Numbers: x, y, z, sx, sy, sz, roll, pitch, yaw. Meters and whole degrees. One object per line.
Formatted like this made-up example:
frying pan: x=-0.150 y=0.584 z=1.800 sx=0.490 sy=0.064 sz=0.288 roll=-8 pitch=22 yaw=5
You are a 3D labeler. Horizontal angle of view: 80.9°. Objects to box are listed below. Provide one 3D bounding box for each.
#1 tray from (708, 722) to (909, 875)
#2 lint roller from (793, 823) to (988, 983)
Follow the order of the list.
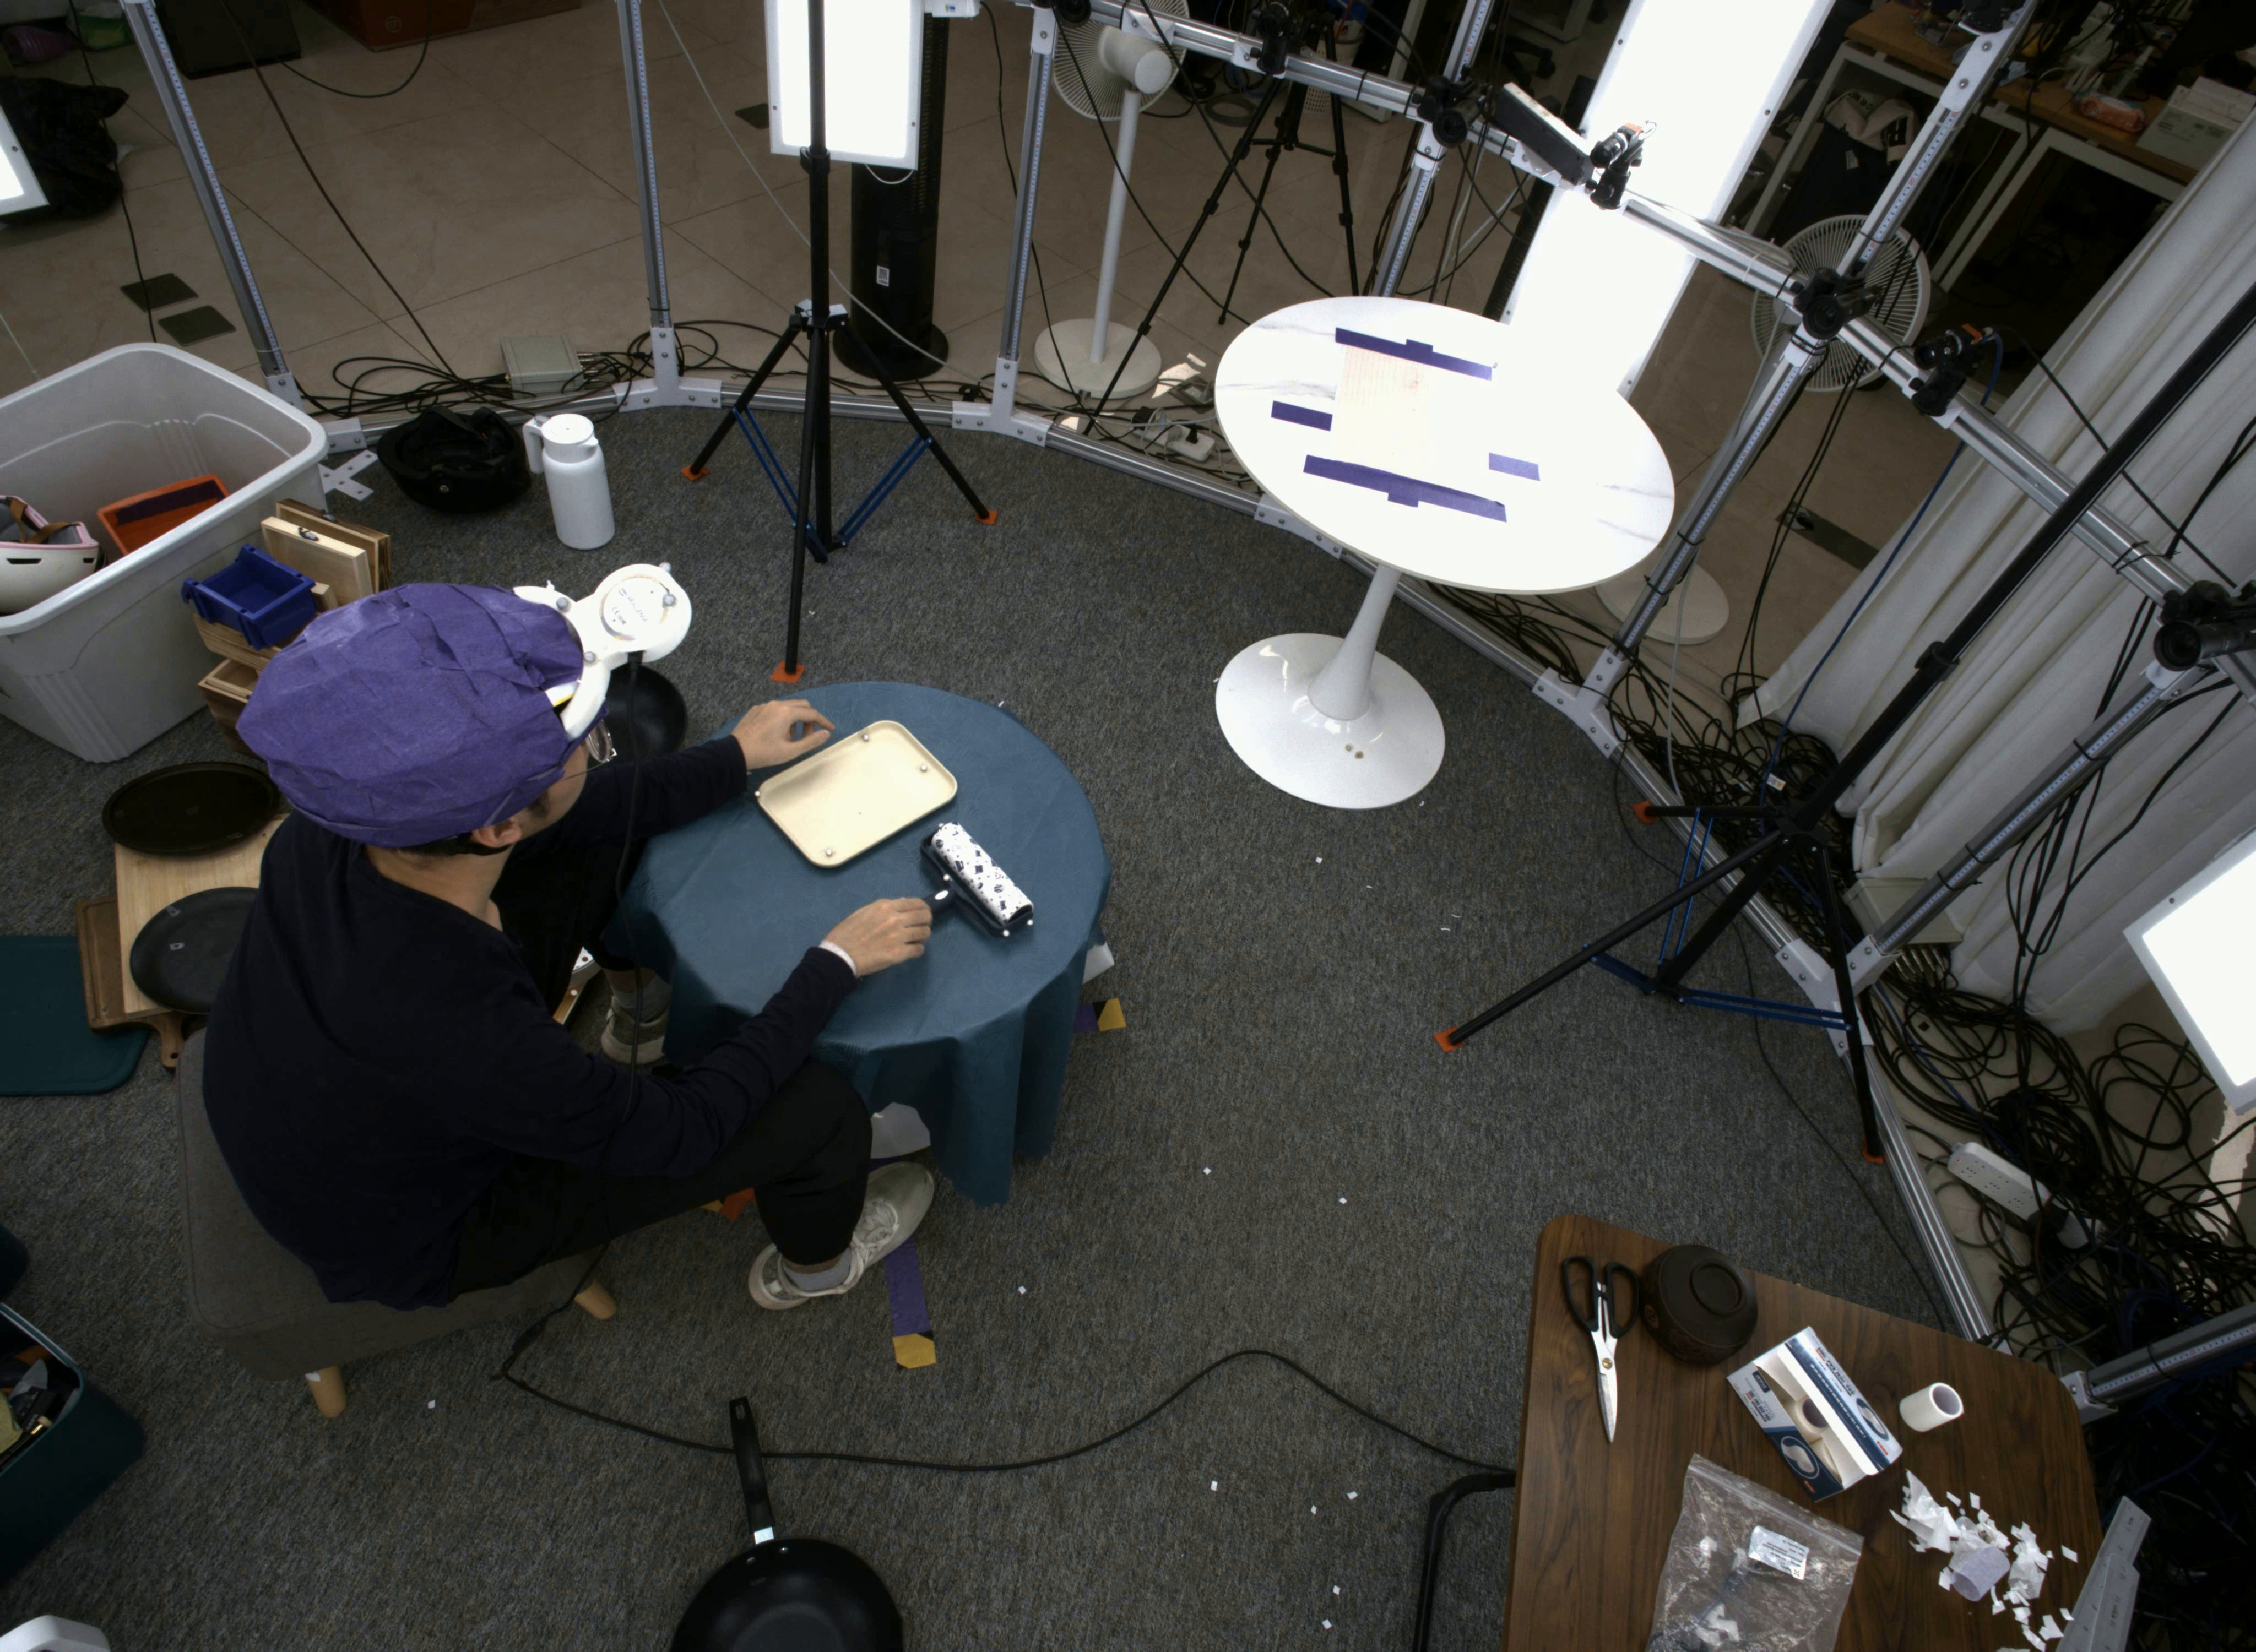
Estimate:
tray: x=-0.429 y=-0.039 z=1.751 sx=0.167 sy=0.018 sz=0.240 roll=43 pitch=56 yaw=16
lint roller: x=-0.320 y=0.115 z=1.650 sx=0.172 sy=0.051 sz=0.247 roll=43 pitch=58 yaw=17
